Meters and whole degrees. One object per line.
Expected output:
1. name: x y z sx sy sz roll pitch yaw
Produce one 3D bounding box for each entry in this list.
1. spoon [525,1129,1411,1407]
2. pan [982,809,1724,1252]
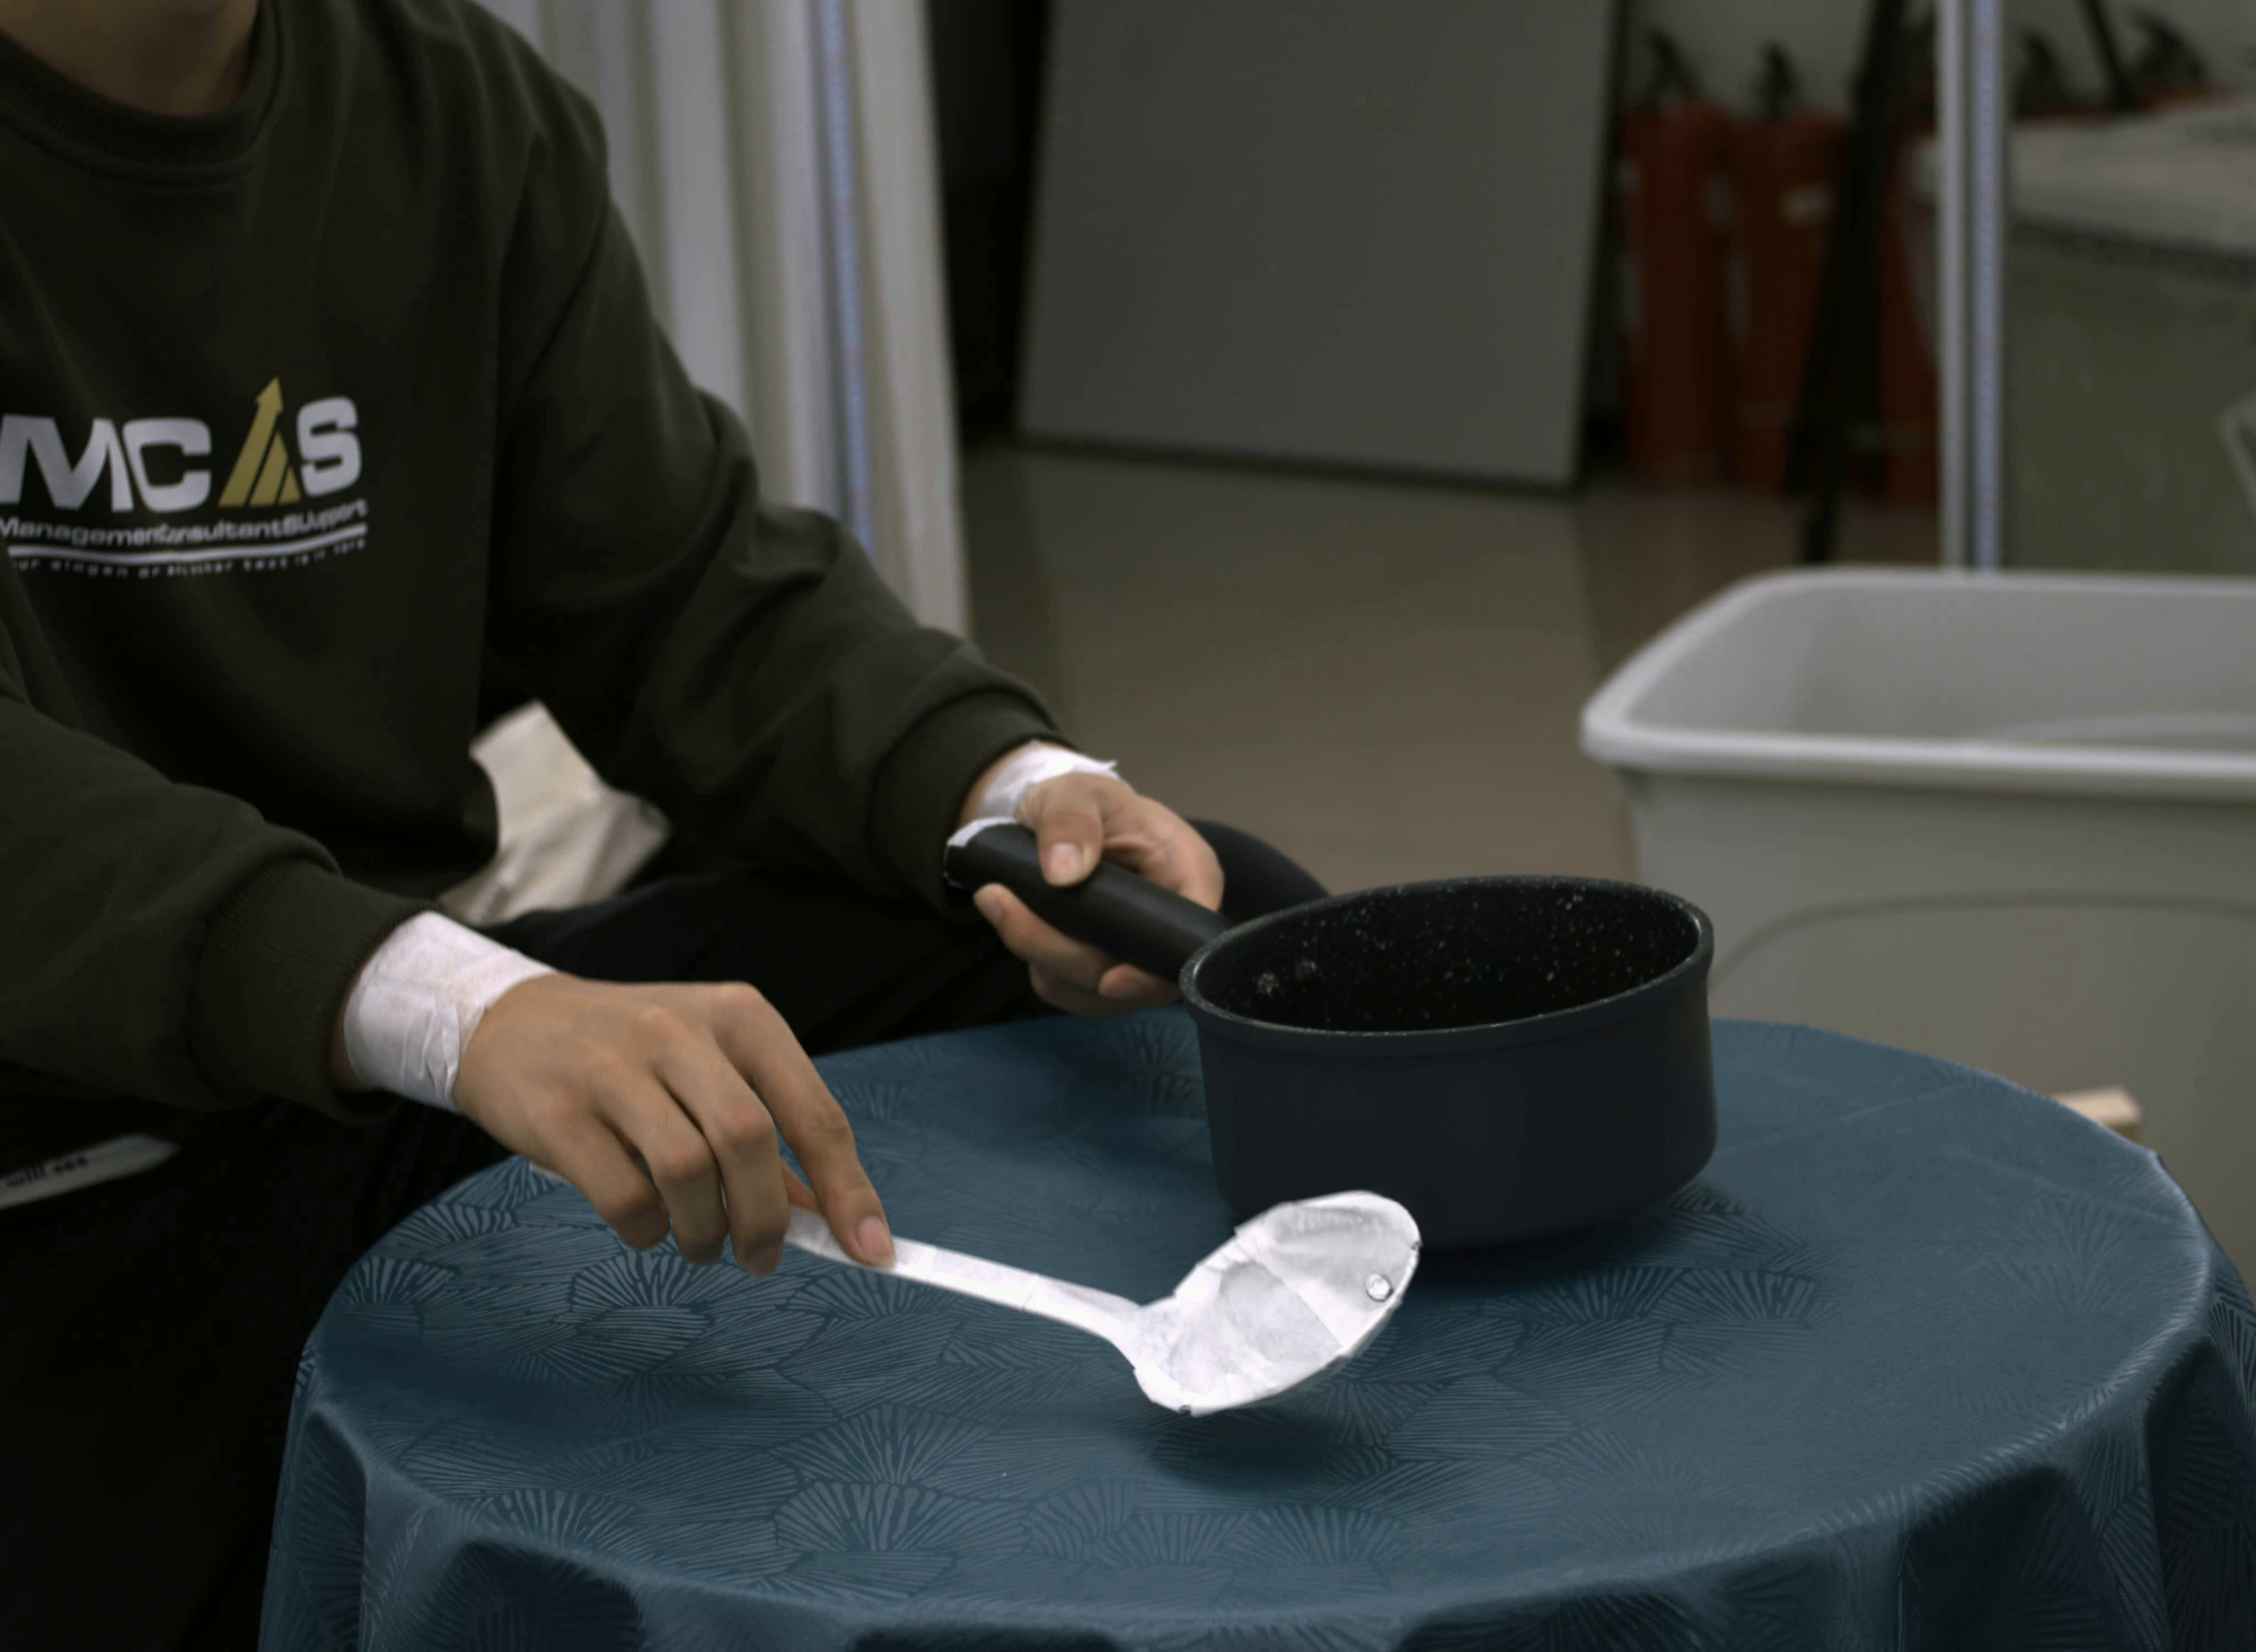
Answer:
1. spoon: -0.050 0.108 1.576 0.277 0.060 0.100 16 36 17
2. pan: 0.058 0.061 1.775 0.168 0.087 0.332 -16 17 -34
